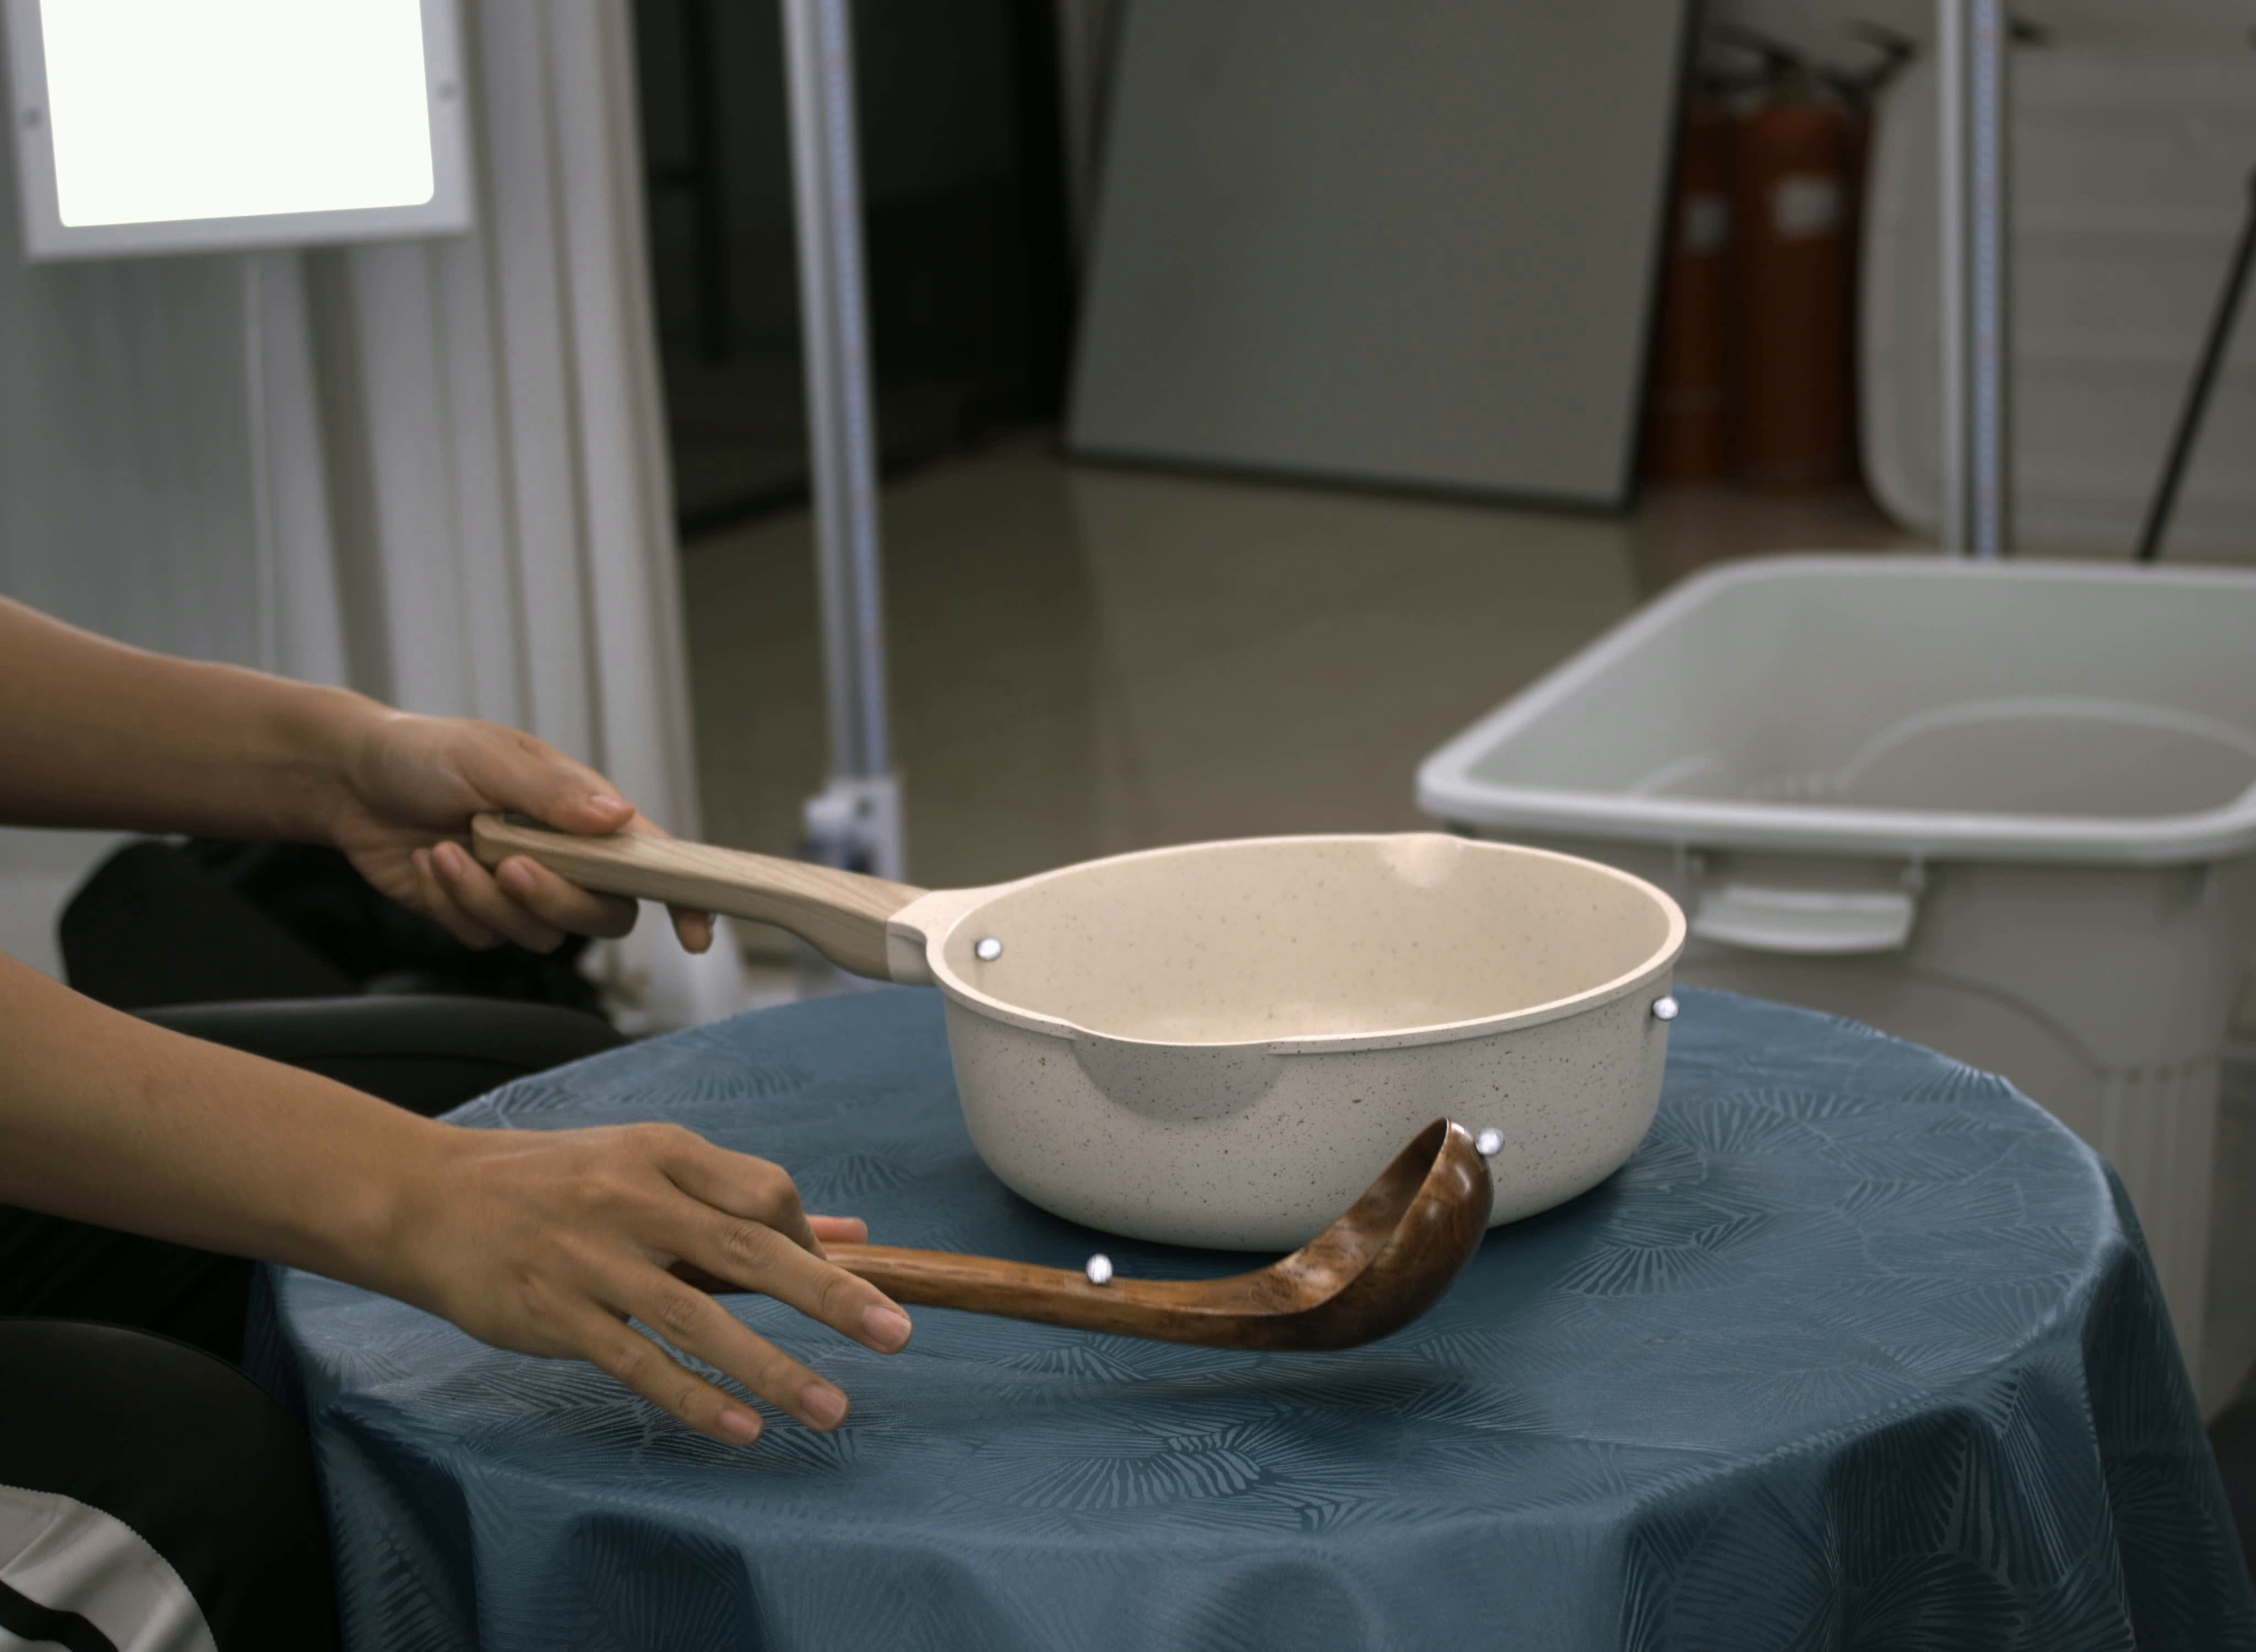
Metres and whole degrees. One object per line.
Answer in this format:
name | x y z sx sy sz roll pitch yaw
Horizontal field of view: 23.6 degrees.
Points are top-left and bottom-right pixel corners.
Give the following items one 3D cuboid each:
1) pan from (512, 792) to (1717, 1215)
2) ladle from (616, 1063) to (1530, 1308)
pan | -0.011 0.050 1.832 0.435 0.103 0.260 2 16 23
ladle | -0.017 0.098 1.590 0.272 0.077 0.081 4 10 8
